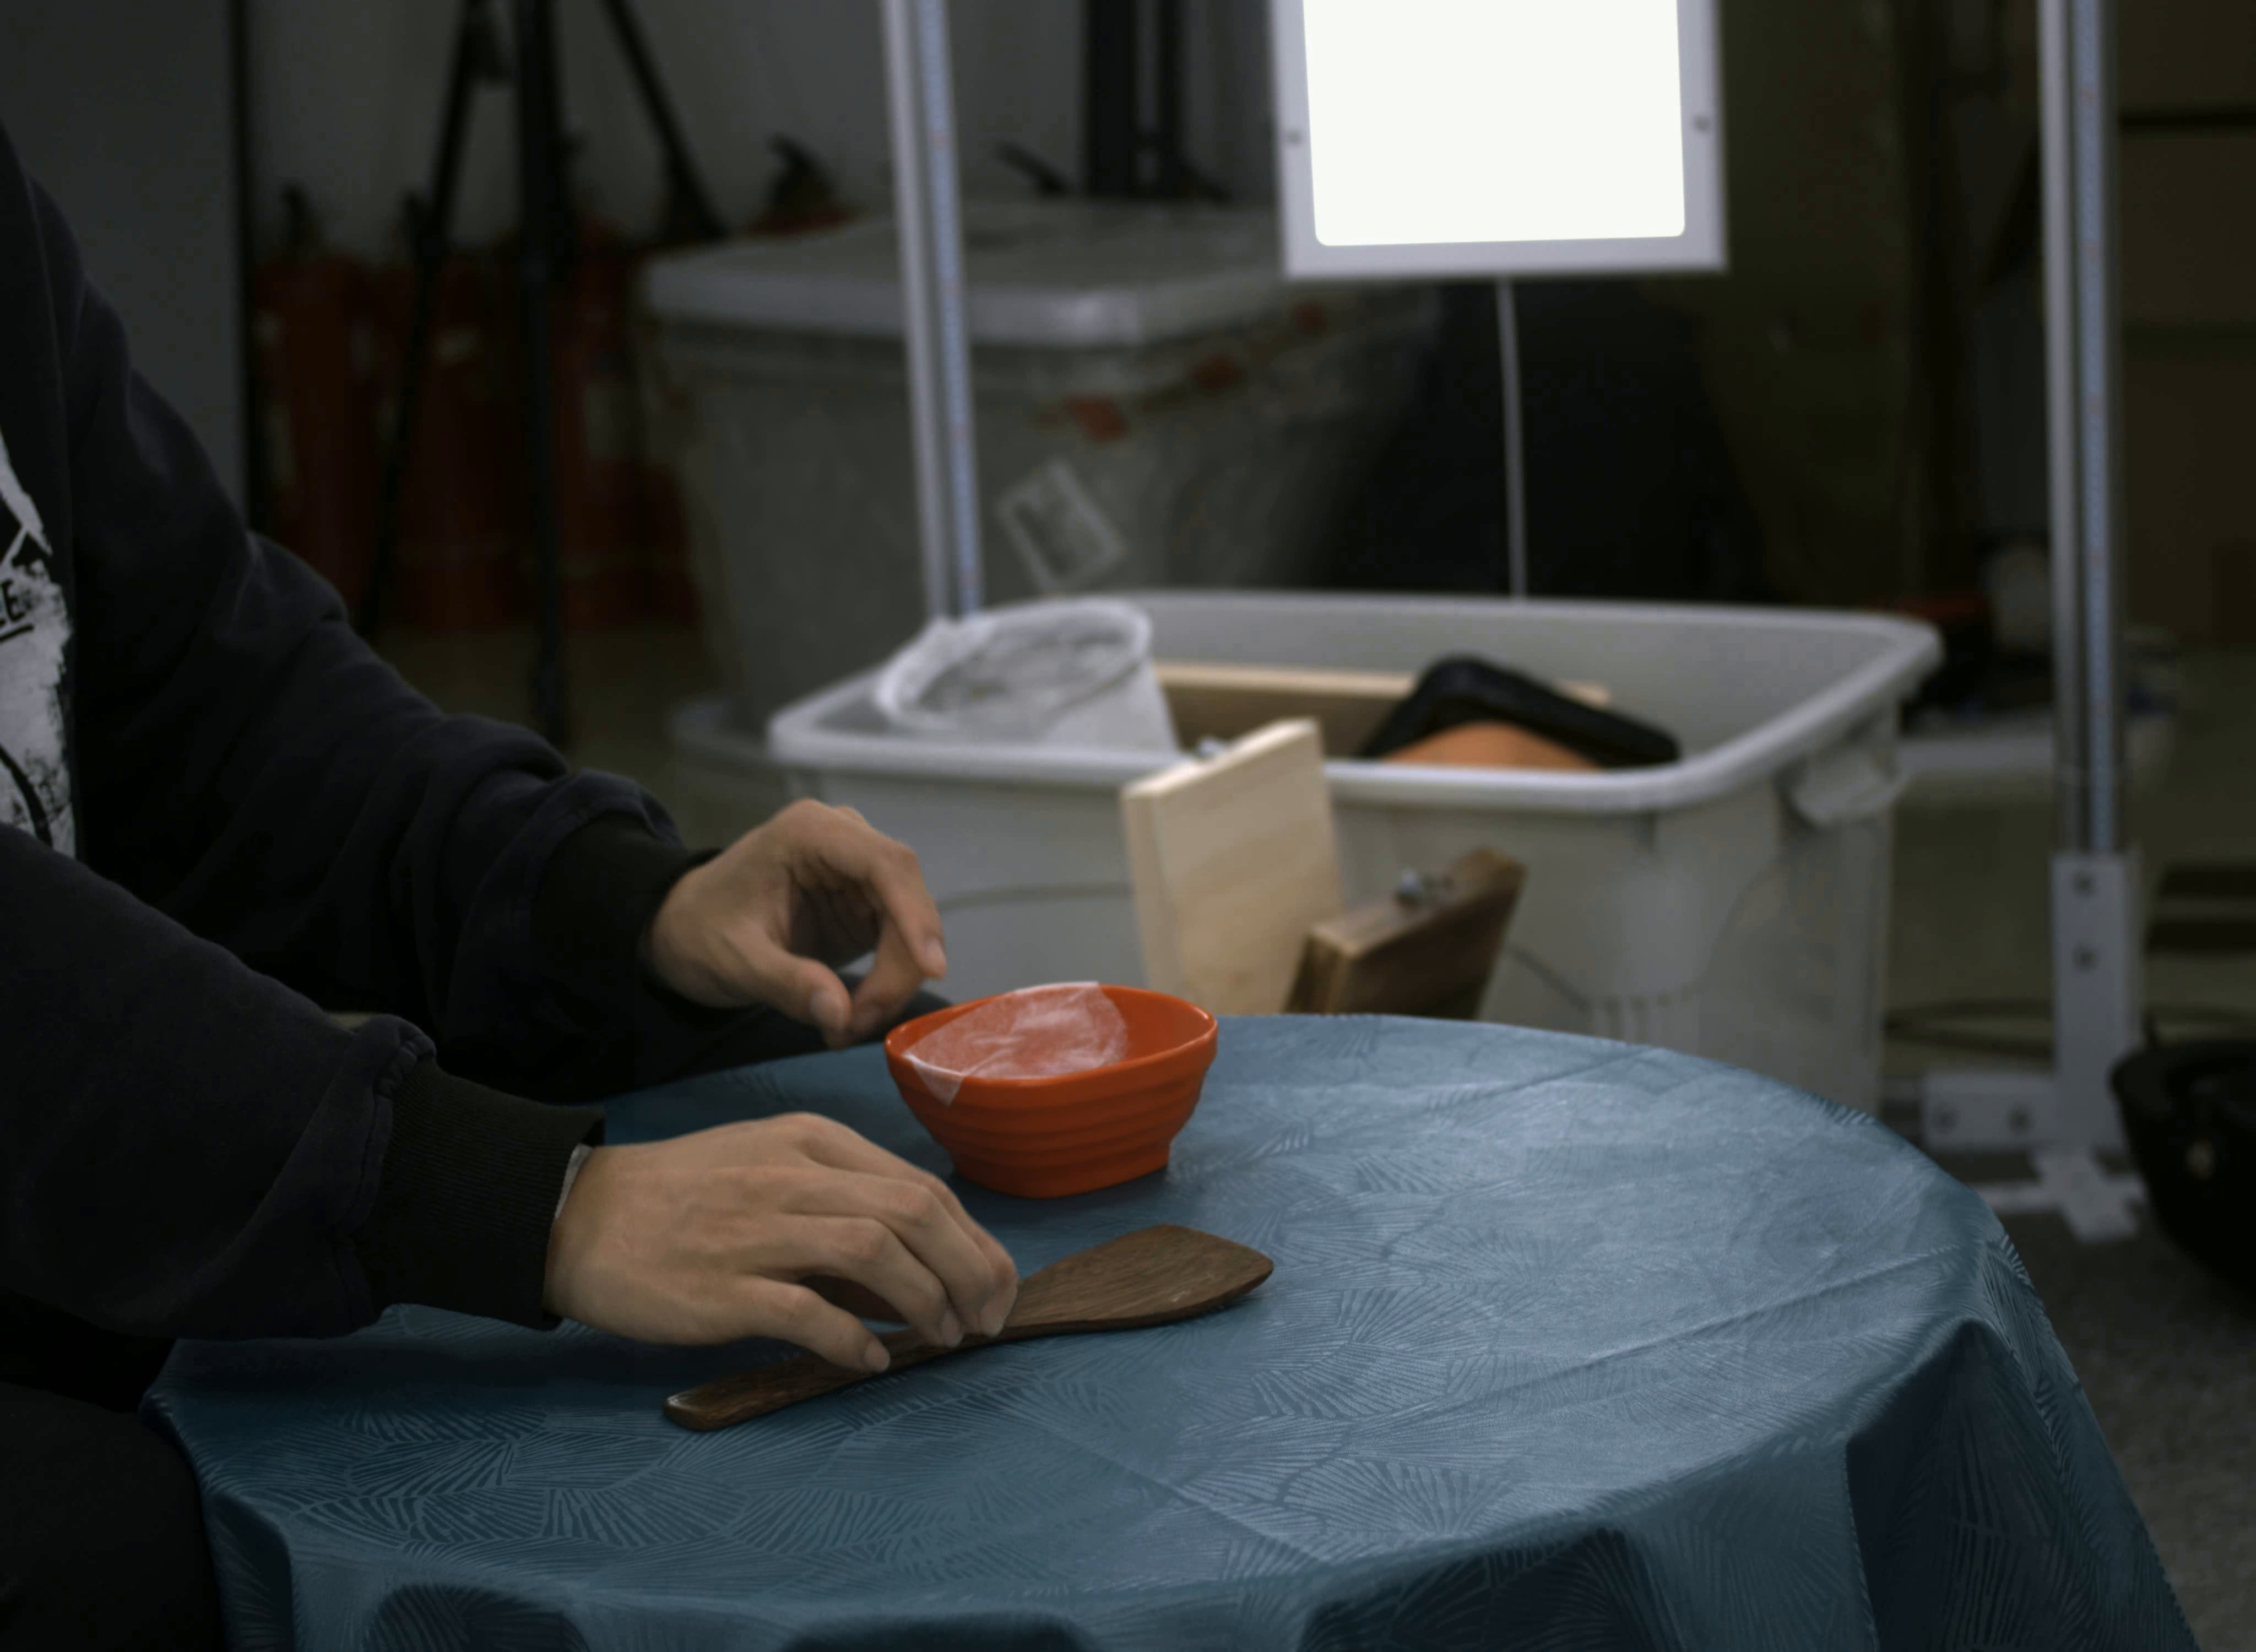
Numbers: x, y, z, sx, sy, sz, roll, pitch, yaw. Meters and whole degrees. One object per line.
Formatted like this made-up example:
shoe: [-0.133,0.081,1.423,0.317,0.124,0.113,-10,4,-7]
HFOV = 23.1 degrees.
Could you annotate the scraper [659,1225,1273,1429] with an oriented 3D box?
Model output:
scraper: [-0.054,0.162,1.758,0.206,0.011,0.077,-14,15,-29]

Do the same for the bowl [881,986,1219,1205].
bowl: [-0.025,0.097,1.928,0.118,0.051,0.119,-5,15,0]
